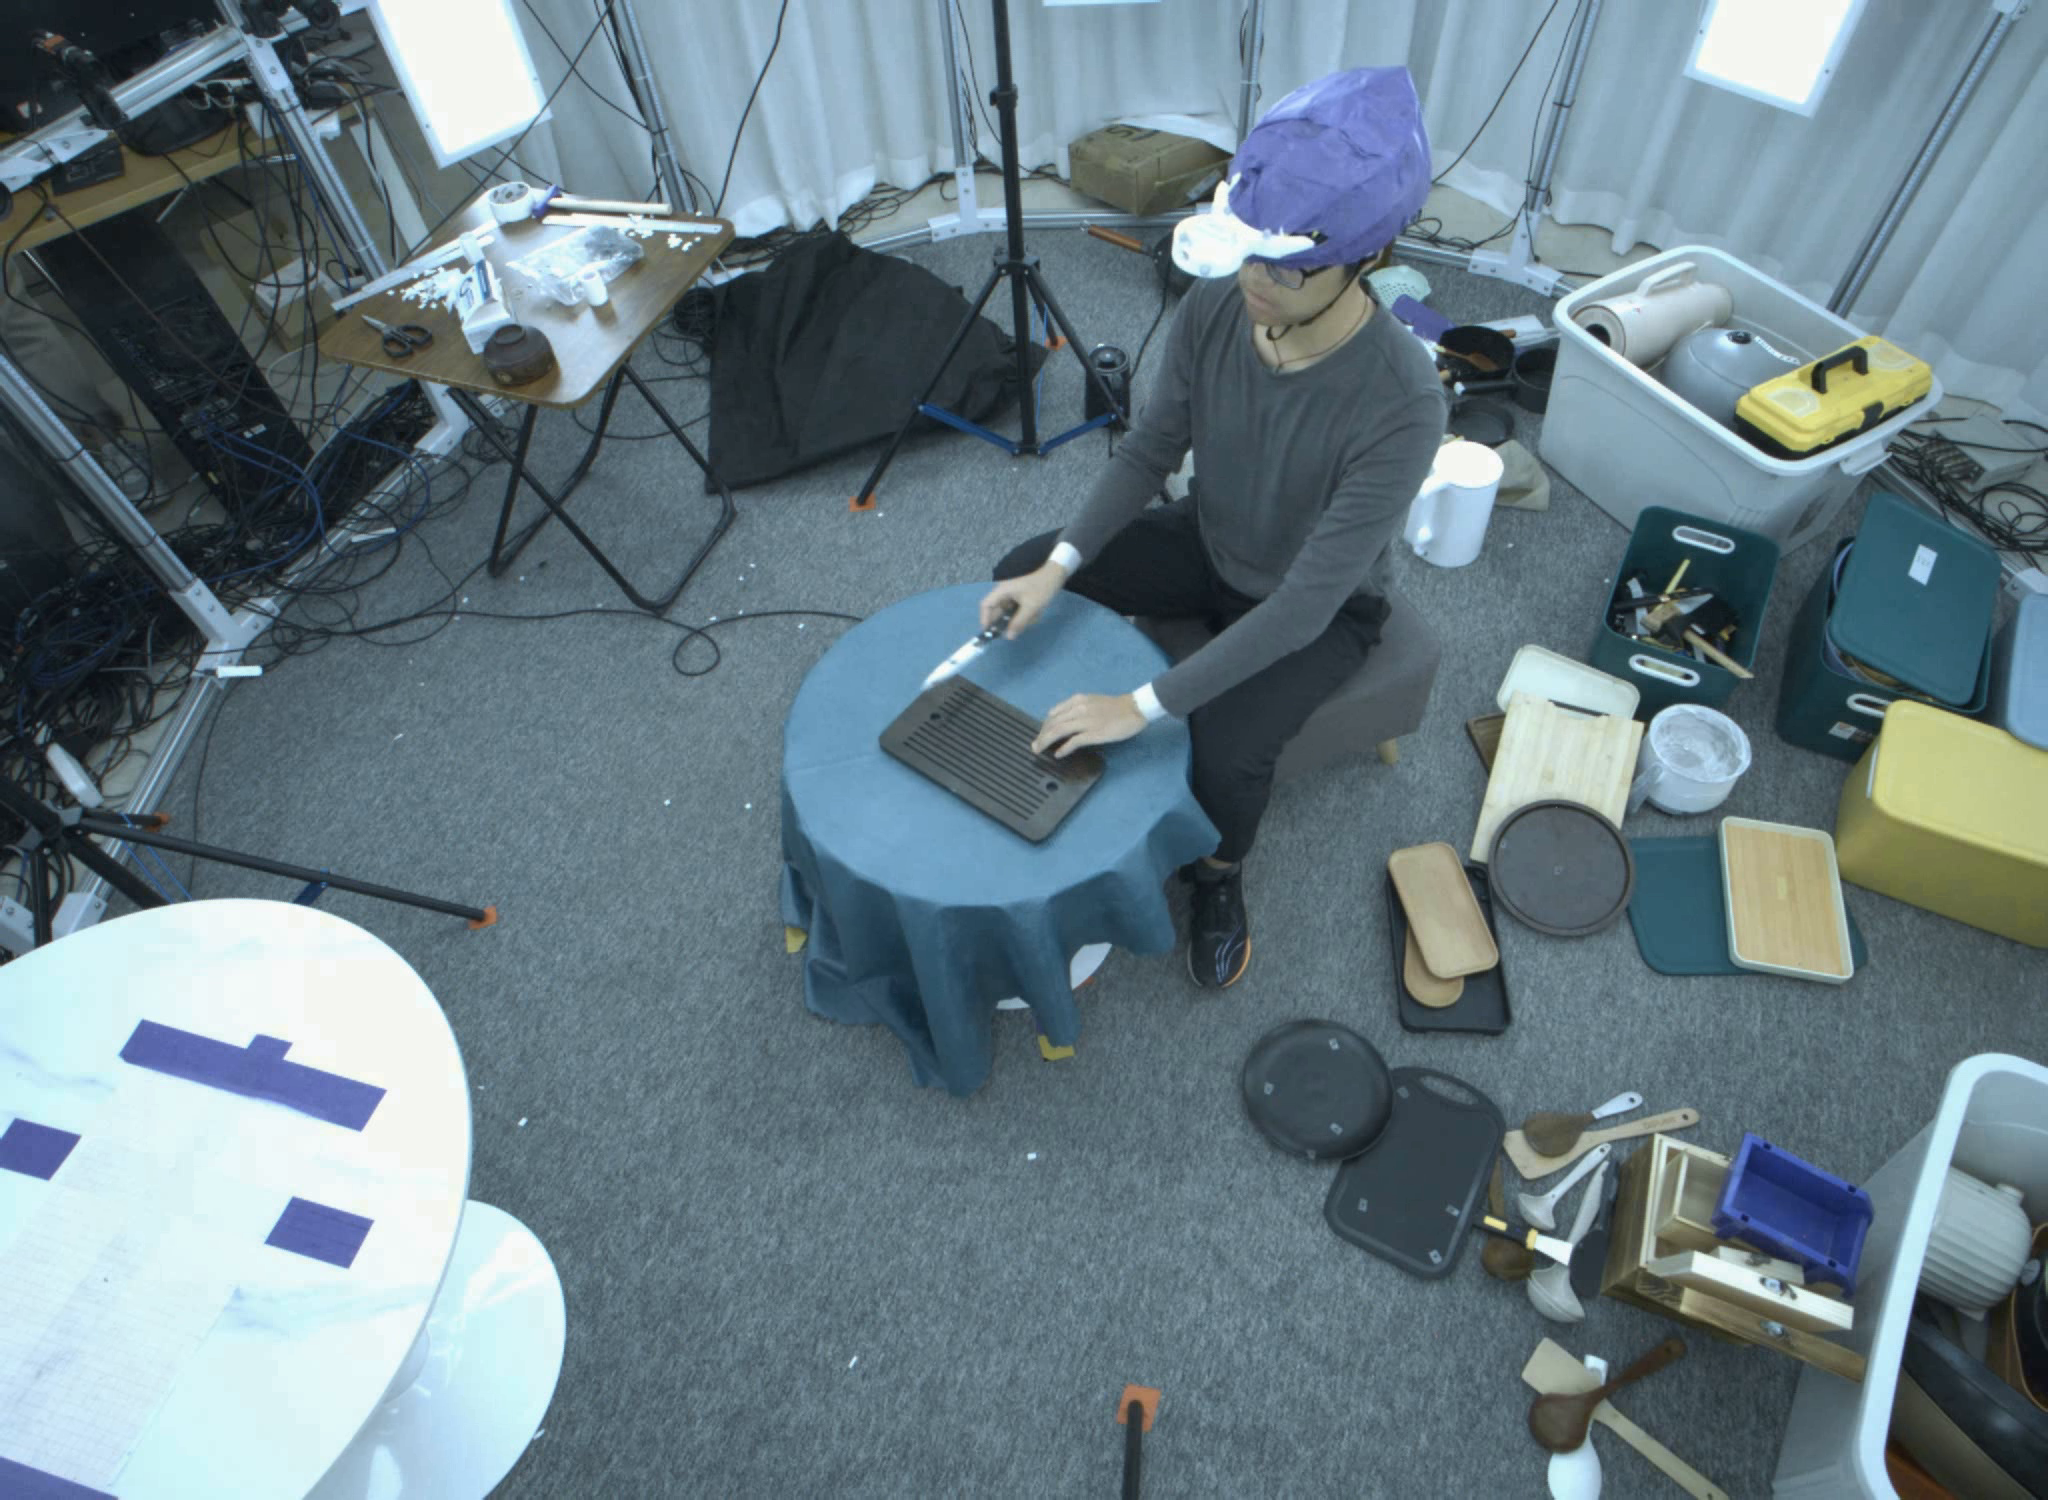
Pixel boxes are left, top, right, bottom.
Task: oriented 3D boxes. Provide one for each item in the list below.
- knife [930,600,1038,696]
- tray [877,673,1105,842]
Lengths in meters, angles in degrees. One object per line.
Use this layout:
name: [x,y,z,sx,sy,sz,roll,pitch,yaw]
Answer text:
knife: [-0.061,-0.154,1.822,0.024,0.016,0.240,49,62,-6]
tray: [-0.049,0.007,1.780,0.301,0.019,0.171,31,60,21]
